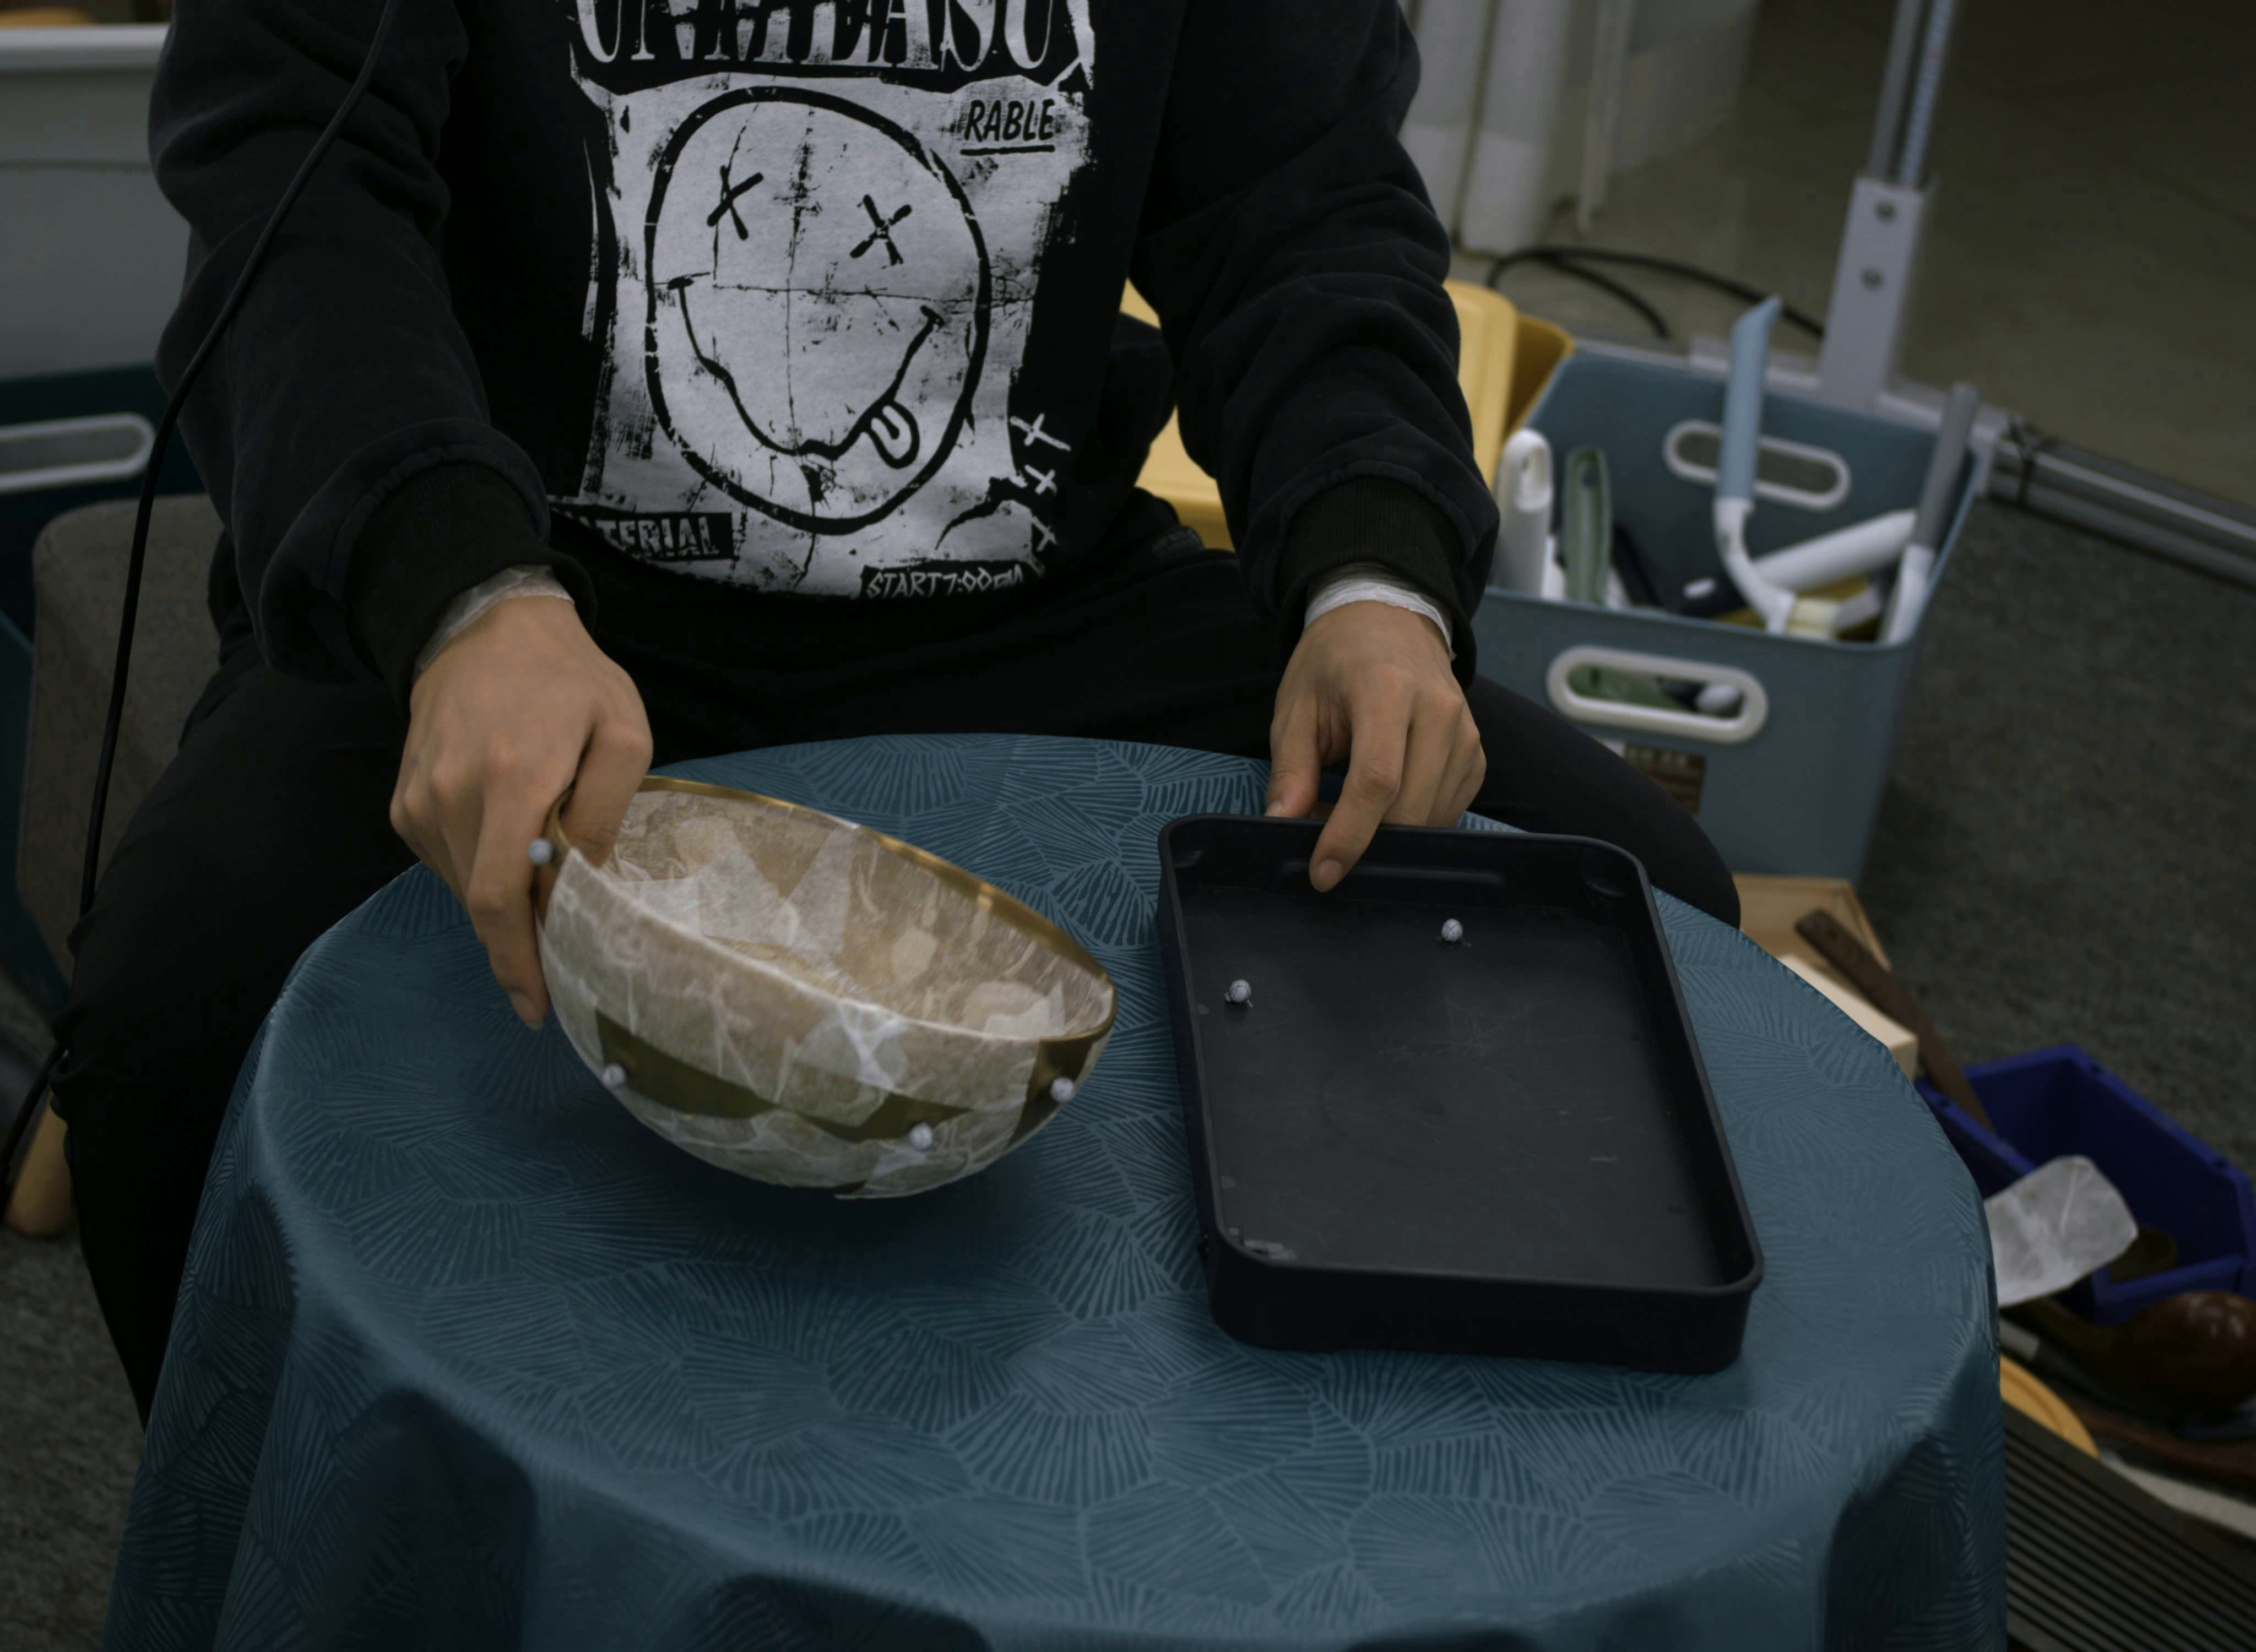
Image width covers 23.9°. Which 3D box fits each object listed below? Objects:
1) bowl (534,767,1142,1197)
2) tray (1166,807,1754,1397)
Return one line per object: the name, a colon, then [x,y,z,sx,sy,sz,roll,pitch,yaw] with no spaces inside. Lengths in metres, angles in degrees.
bowl: [-0.107,0.065,1.770,0.214,0.094,0.215,17,16,-5]
tray: [0.108,0.090,1.858,0.183,0.037,0.320,5,28,-4]
